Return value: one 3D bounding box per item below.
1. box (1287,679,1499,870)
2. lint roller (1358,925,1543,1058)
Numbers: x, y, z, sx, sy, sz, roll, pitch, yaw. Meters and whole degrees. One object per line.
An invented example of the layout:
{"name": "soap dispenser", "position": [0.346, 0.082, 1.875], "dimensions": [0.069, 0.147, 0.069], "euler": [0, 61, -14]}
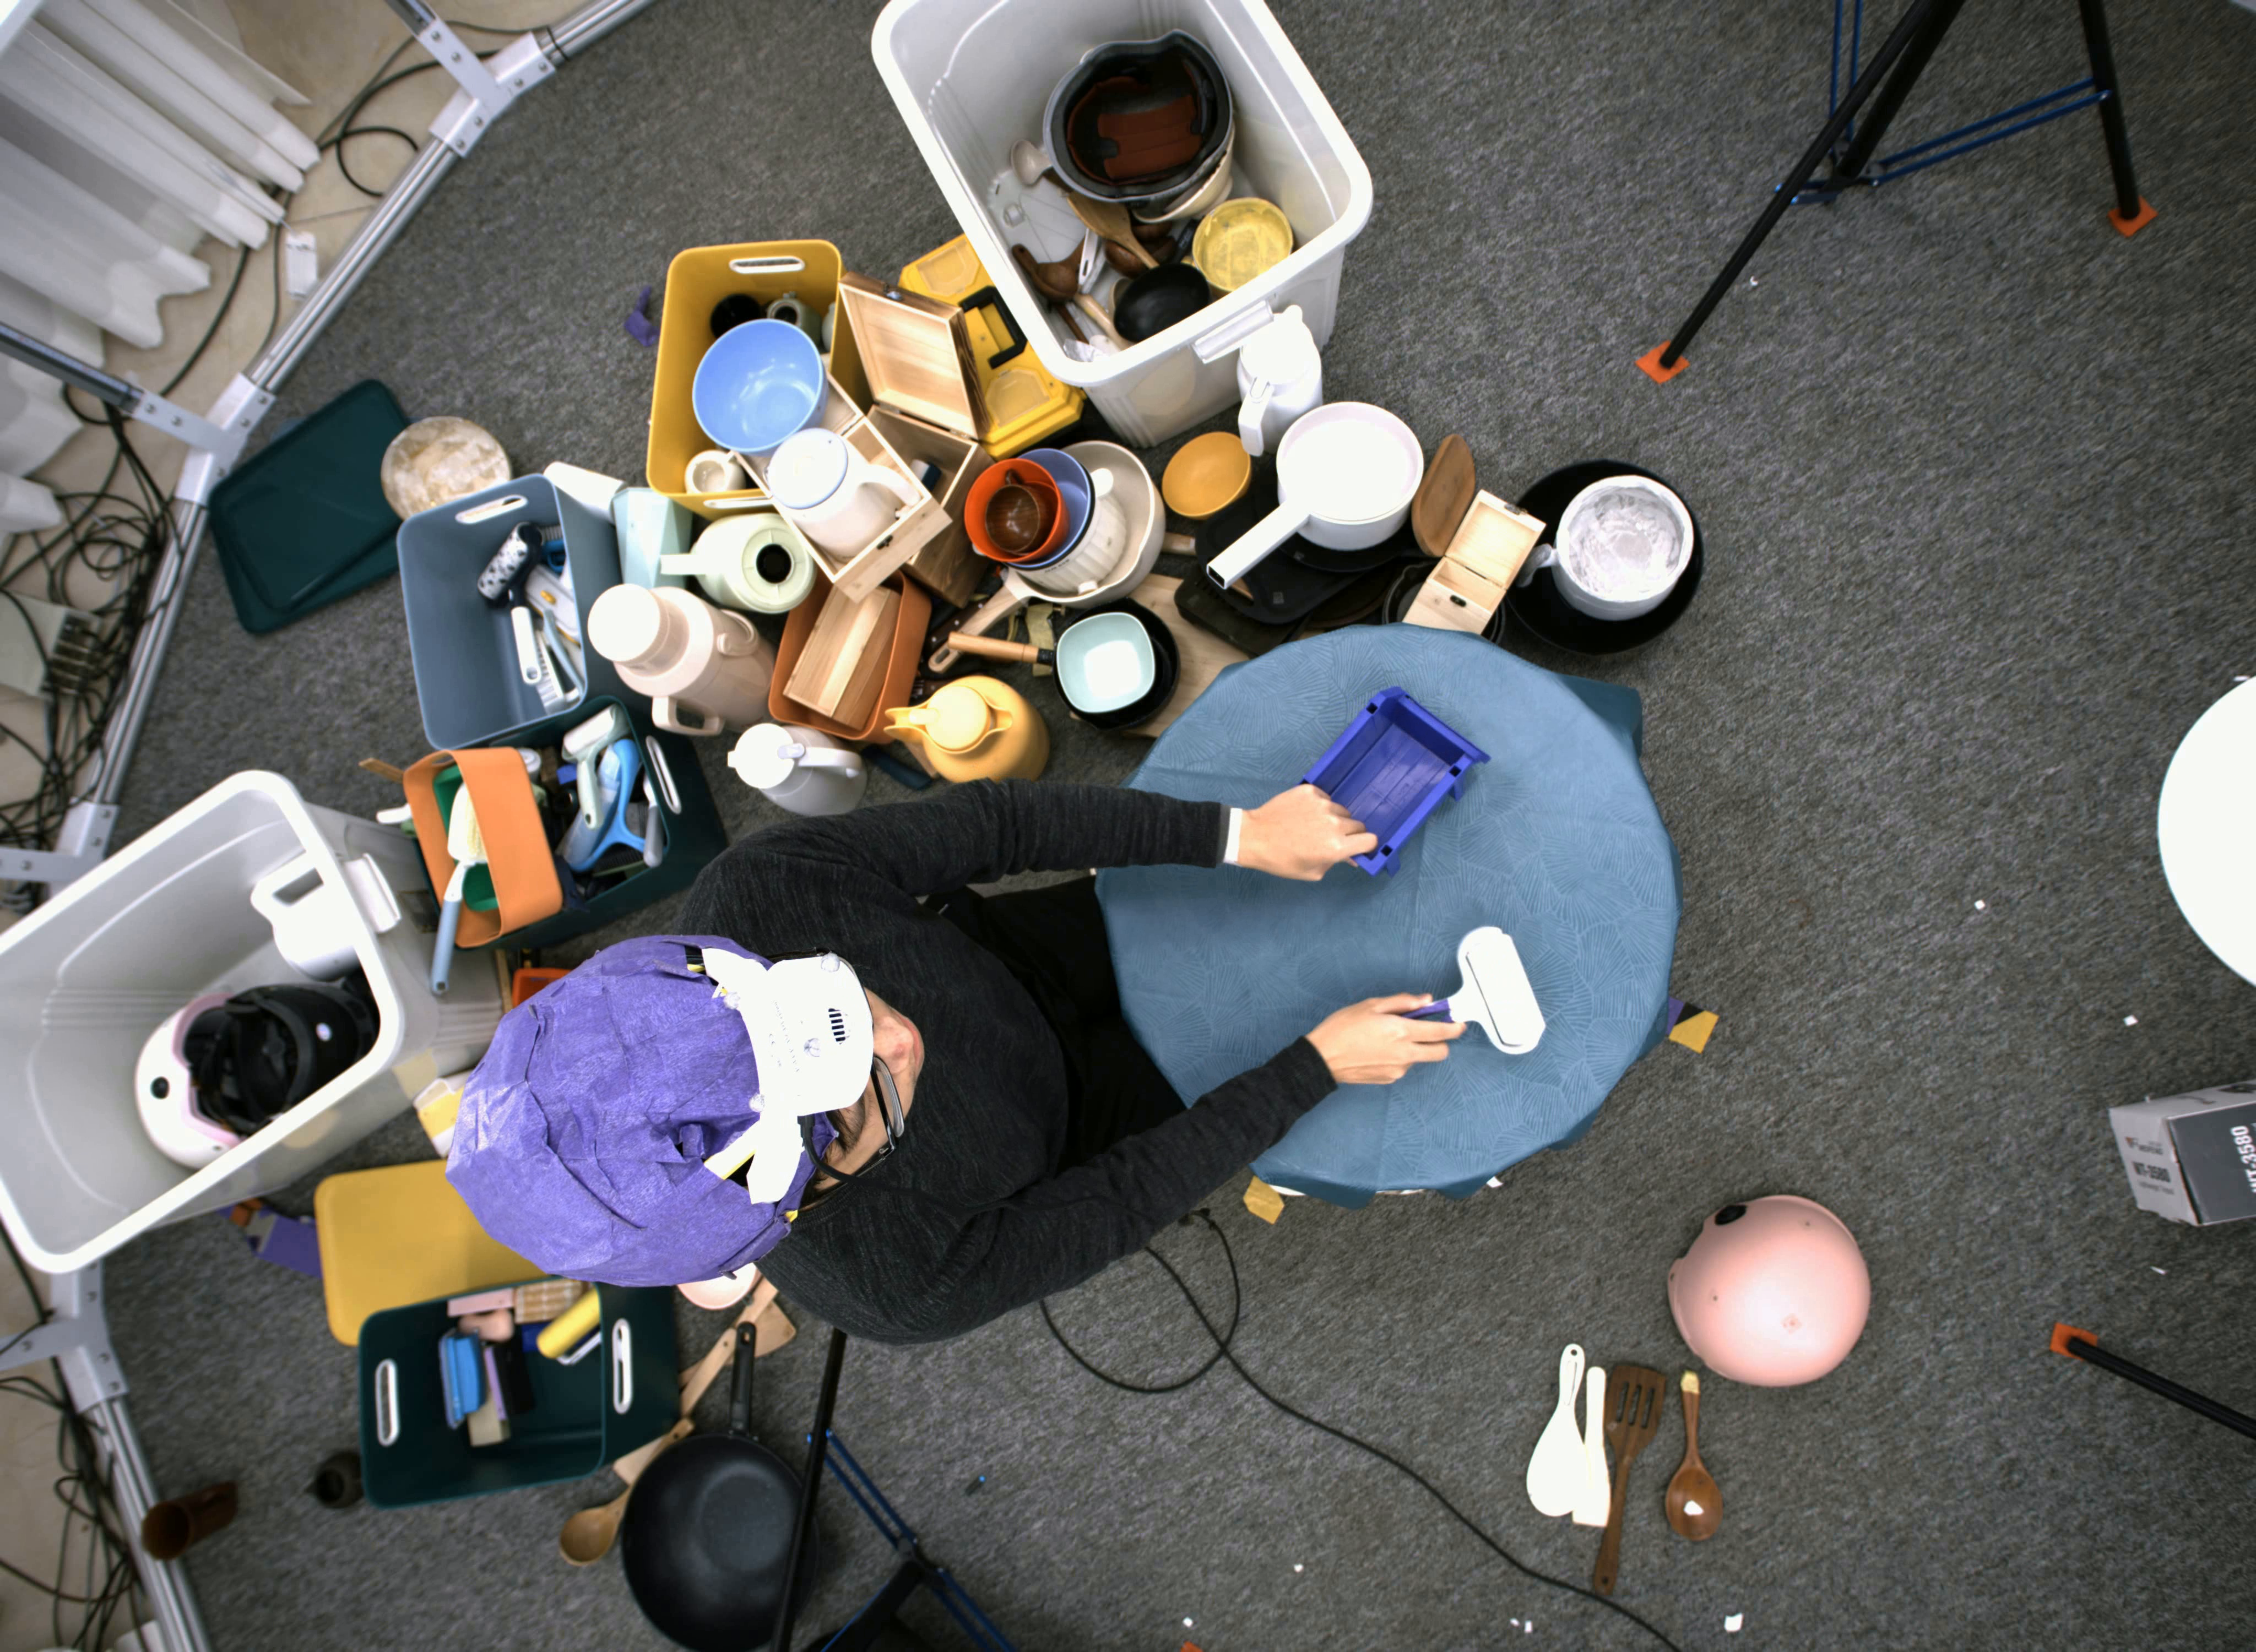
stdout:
{"name": "box", "position": [0.269, -0.055, 1.400], "dimensions": [0.123, 0.082, 0.180], "euler": [43, 94, 21]}
{"name": "lint roller", "position": [0.314, 0.185, 1.374], "dimensions": [0.181, 0.050, 0.134], "euler": [-24, 102, -1]}
